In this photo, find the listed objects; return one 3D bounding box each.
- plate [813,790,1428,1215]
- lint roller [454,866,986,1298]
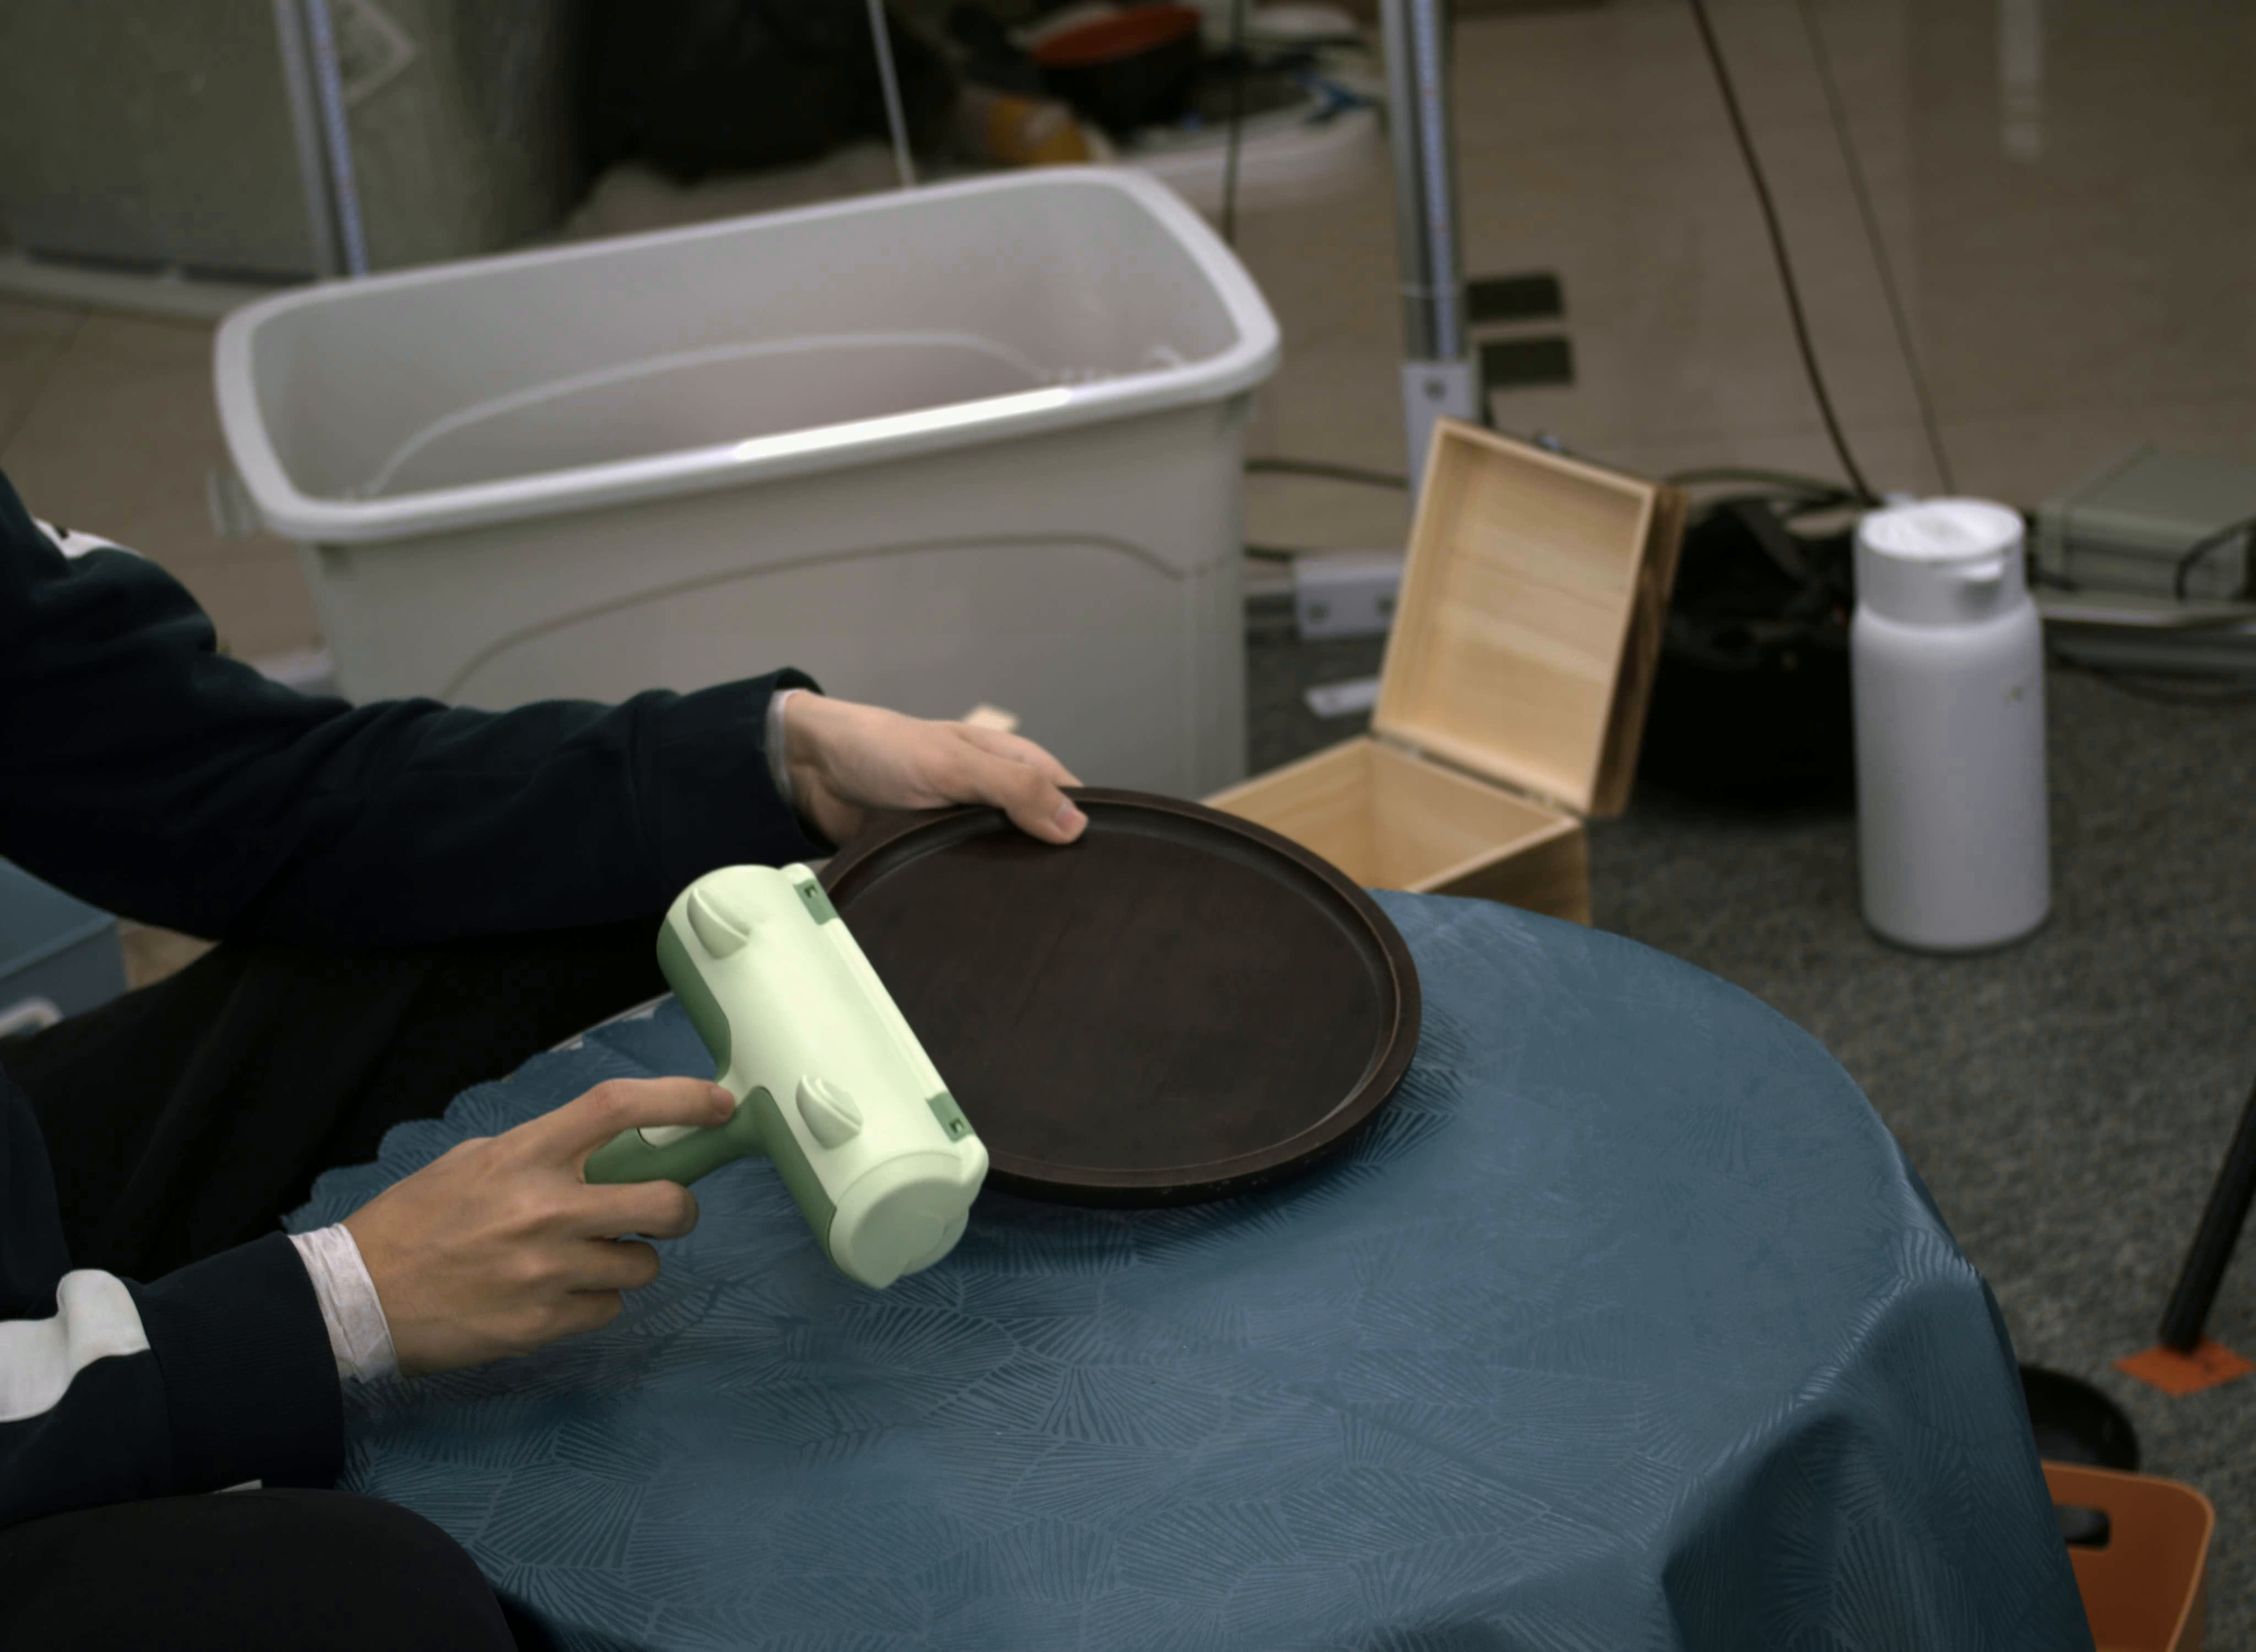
[{"bbox_3d":[-0.010,0.067,2.202,0.254,0.029,0.250,3,39,-3],"label":"plate"},{"bbox_3d":[-0.166,0.106,2.047,0.183,0.084,0.195,-24,44,-10],"label":"lint roller"}]
